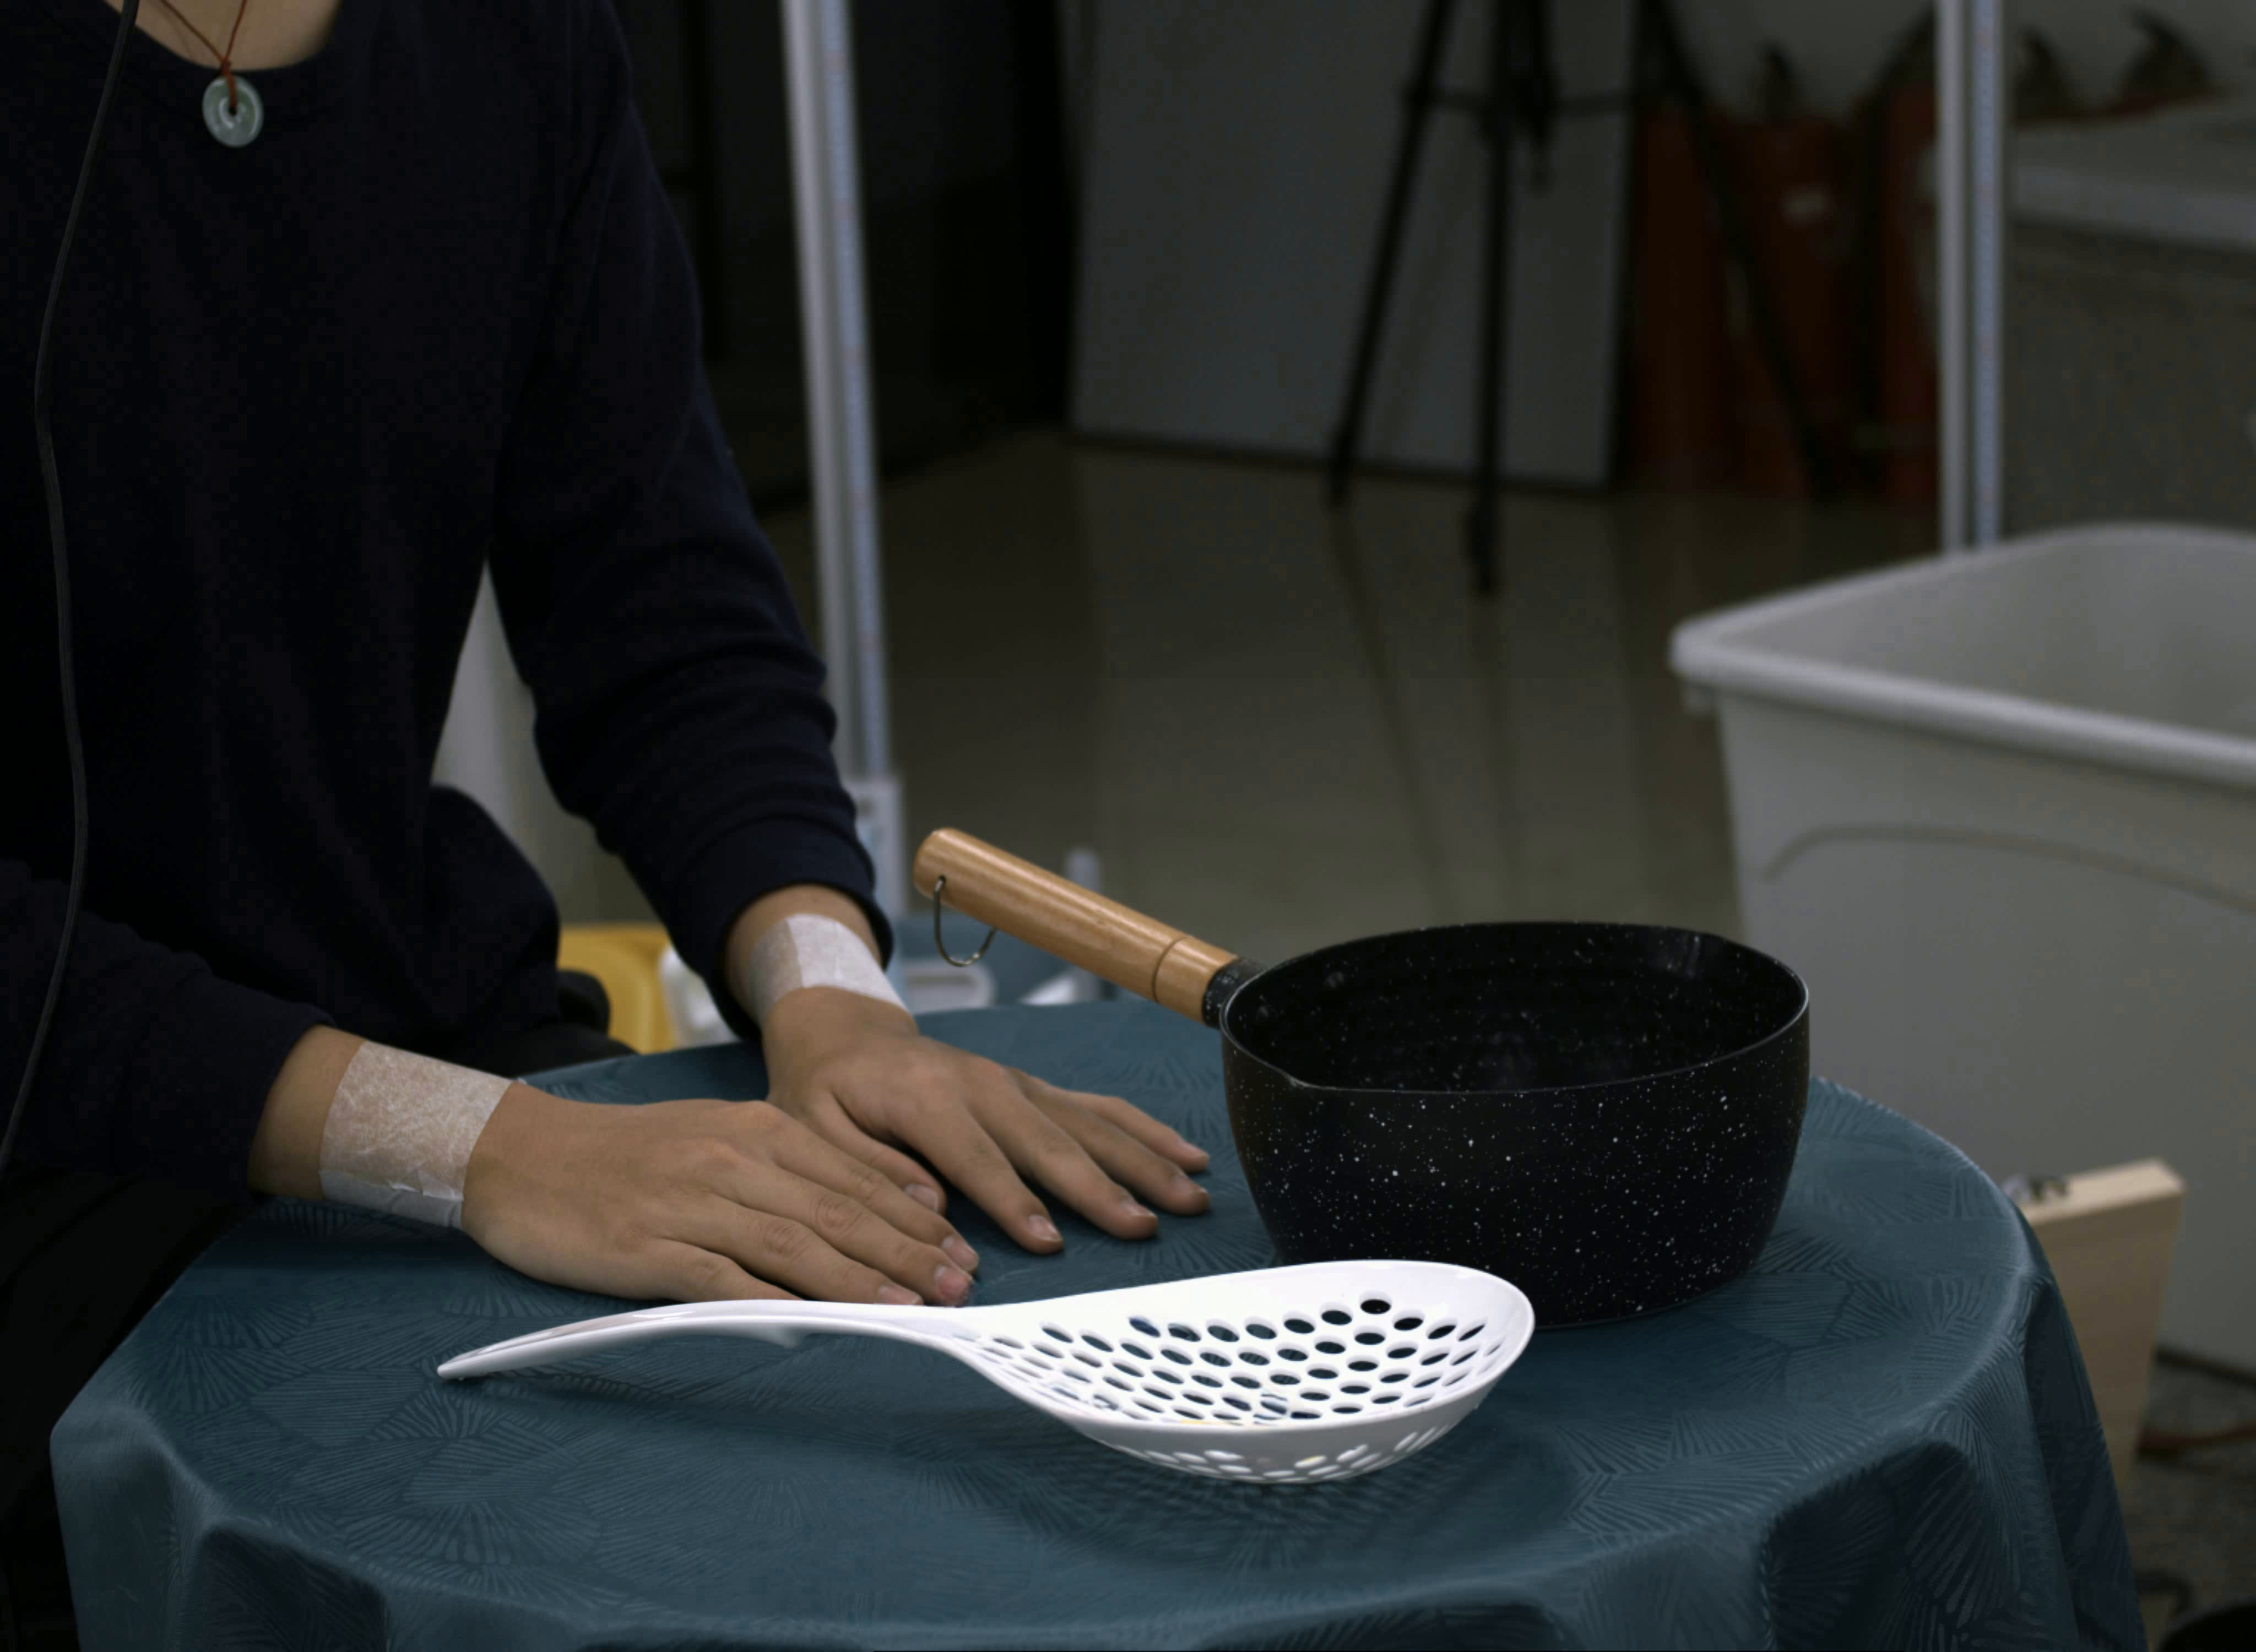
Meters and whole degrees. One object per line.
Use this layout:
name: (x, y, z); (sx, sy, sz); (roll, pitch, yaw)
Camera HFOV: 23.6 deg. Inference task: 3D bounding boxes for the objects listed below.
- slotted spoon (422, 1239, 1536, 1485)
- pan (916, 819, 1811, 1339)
slotted spoon: (-0.050, 0.155, 1.559); (0.348, 0.051, 0.135); (4, 18, 24)
pan: (0.061, 0.073, 1.721); (0.345, 0.109, 0.203); (9, 20, 40)
